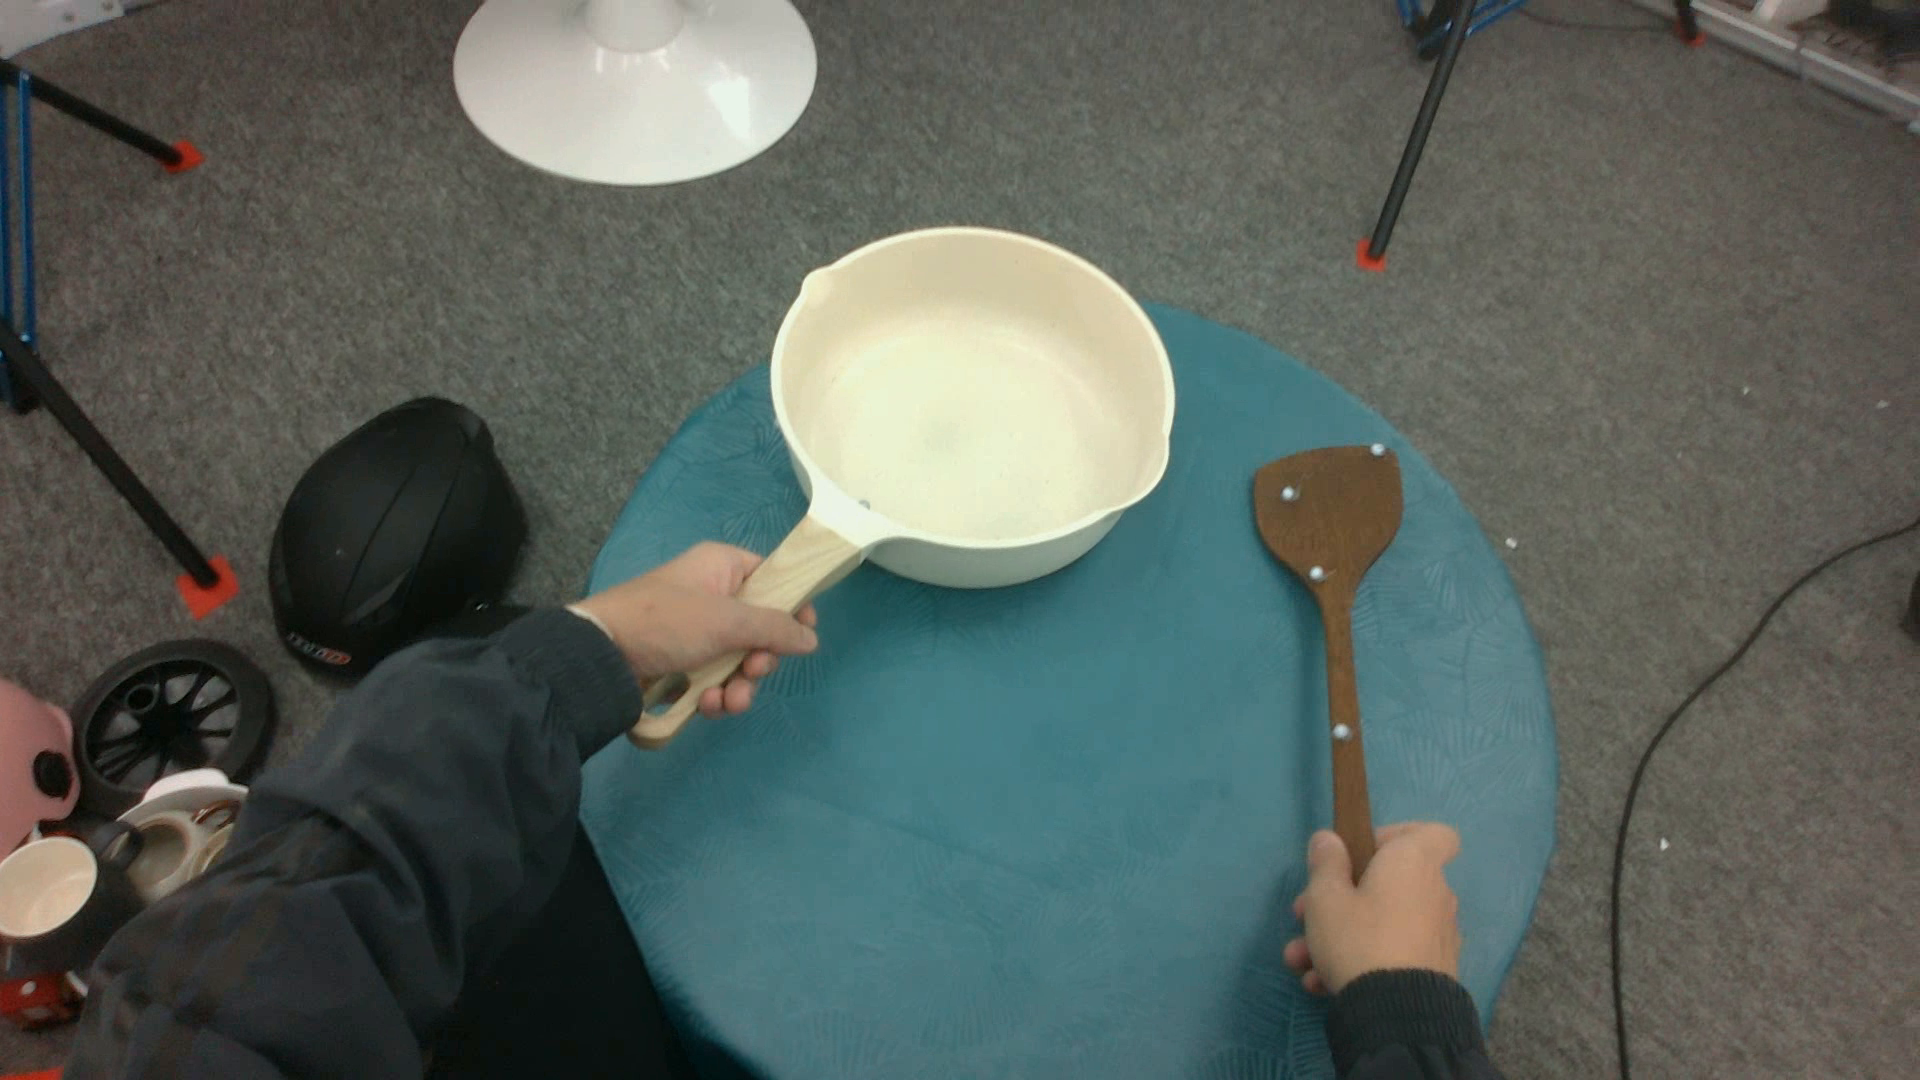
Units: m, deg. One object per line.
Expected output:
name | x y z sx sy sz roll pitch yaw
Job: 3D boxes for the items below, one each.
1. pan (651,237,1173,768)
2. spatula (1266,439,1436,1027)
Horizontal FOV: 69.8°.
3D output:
pan | -0.041 -0.018 0.844 0.263 0.101 0.437 30 59 13
spatula | 0.241 0.091 0.815 0.096 0.016 0.388 -10 51 19
